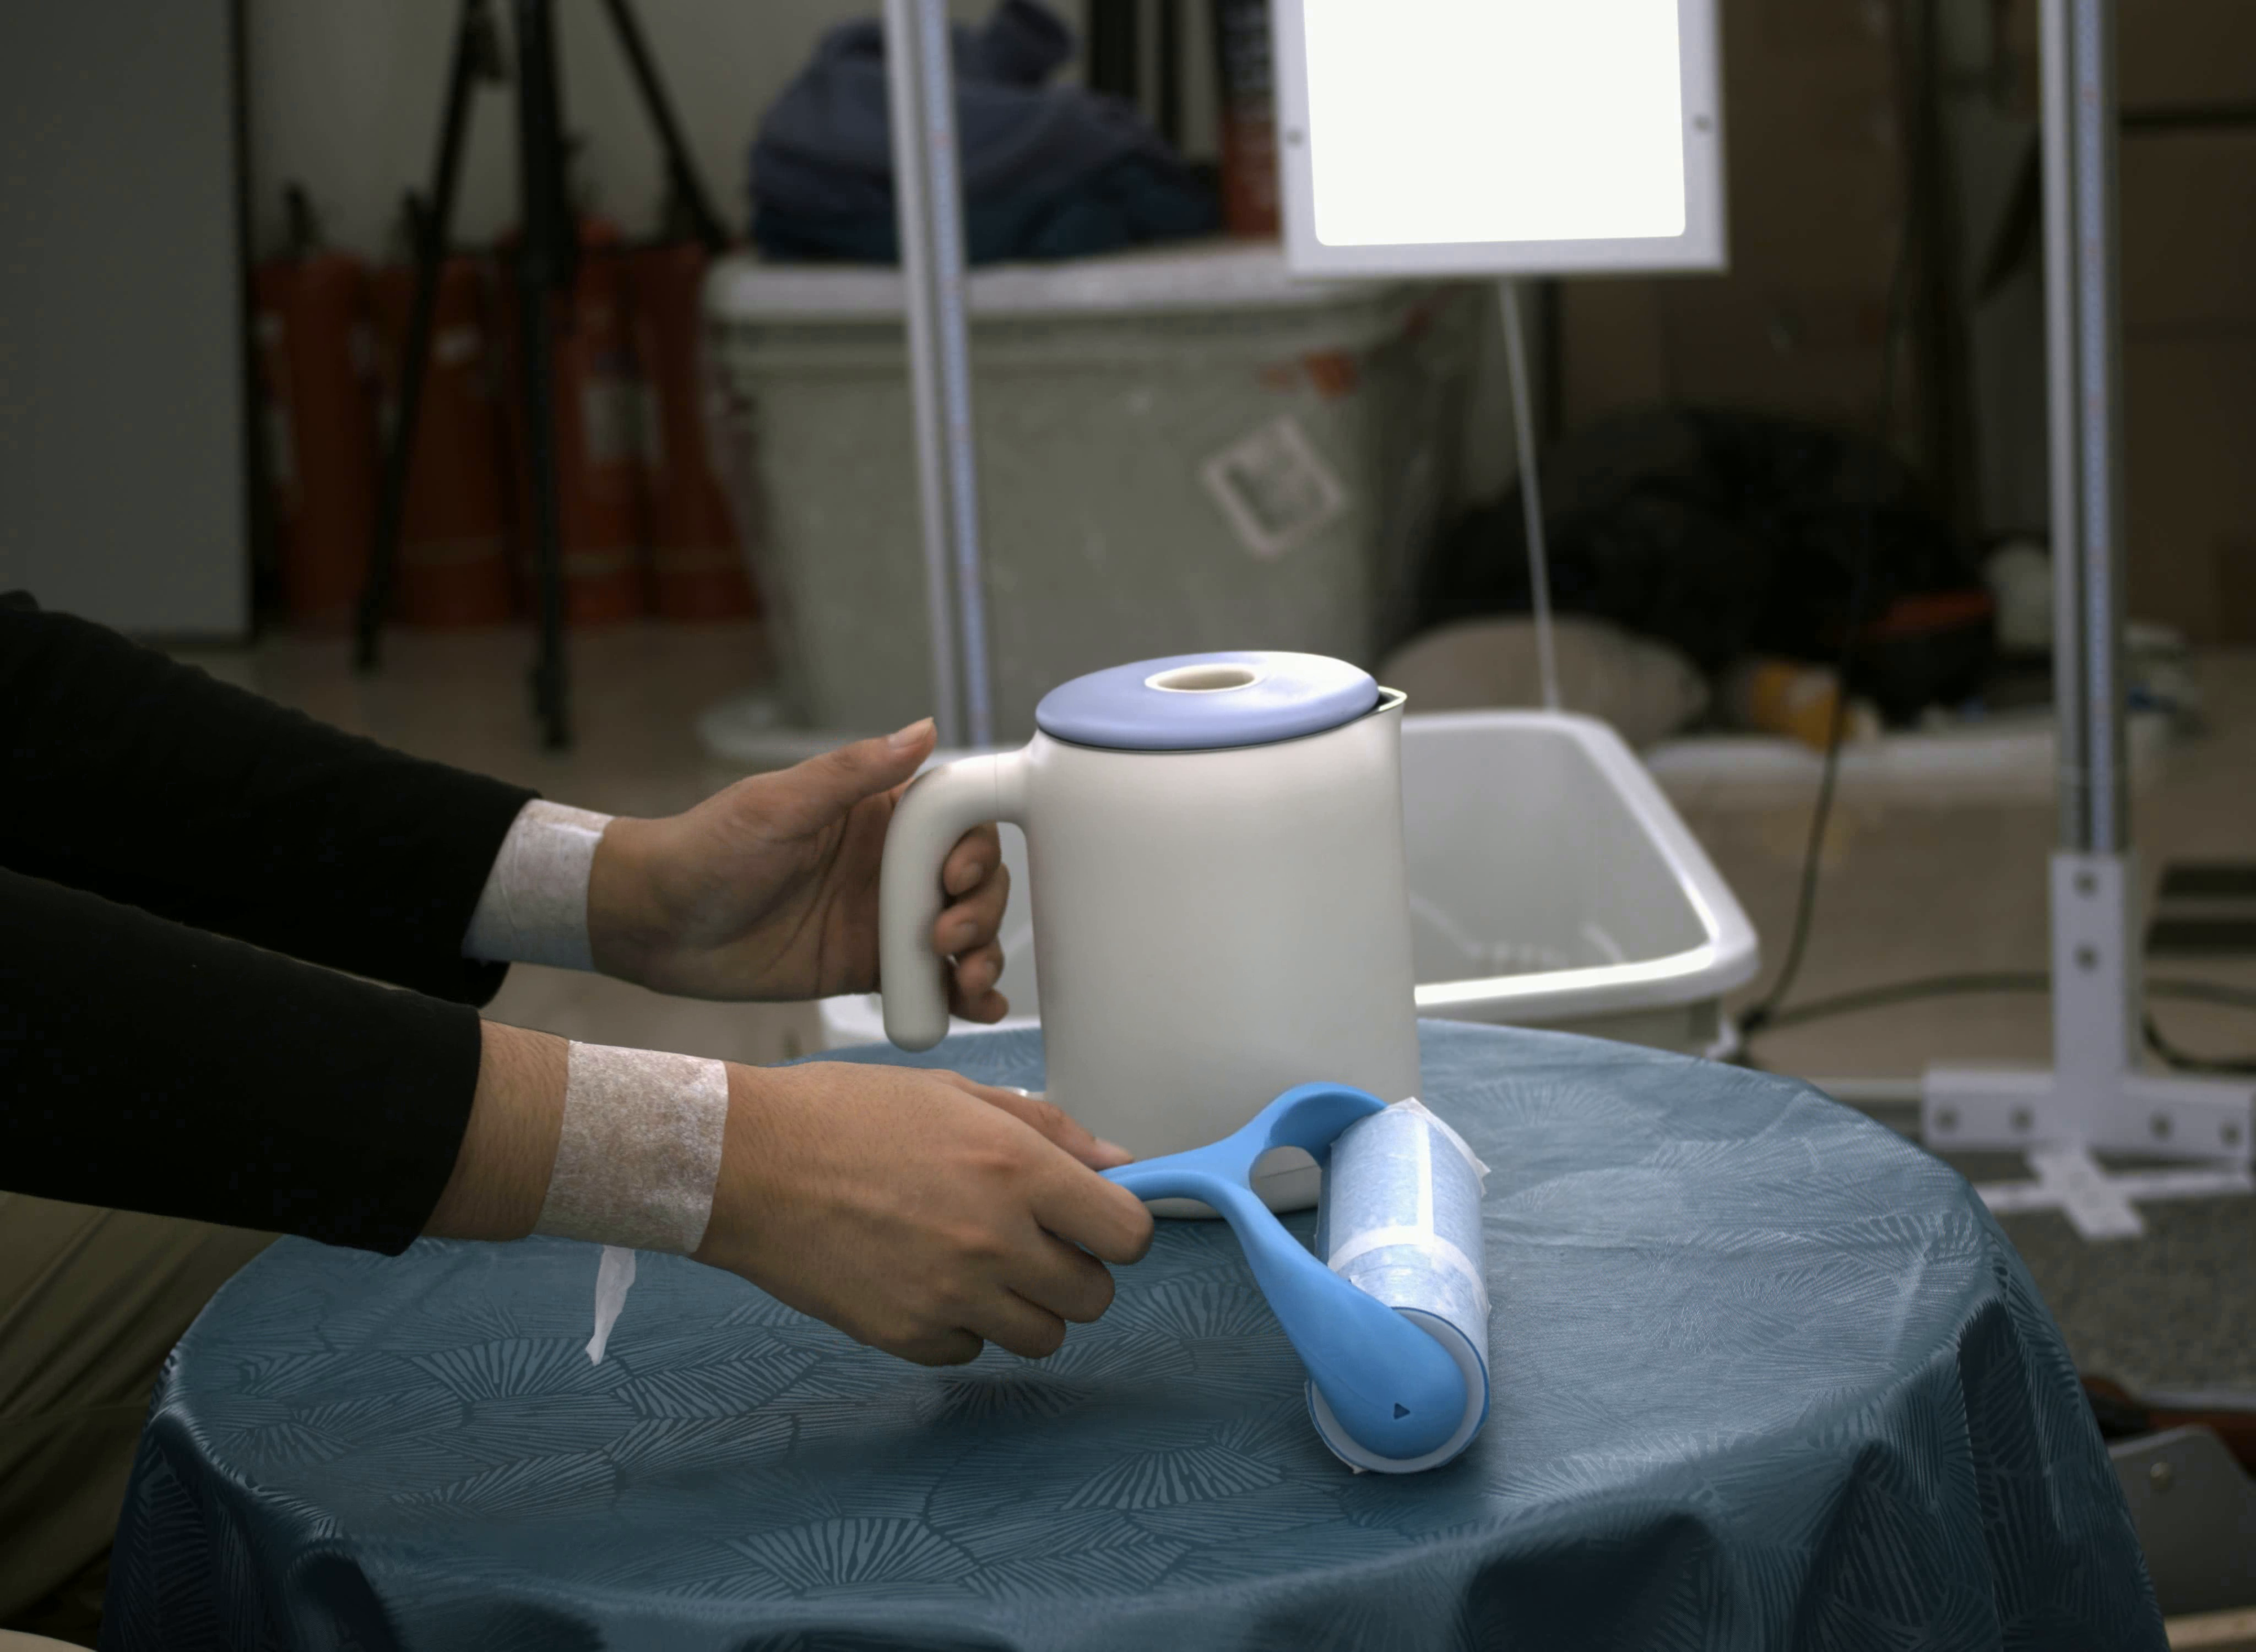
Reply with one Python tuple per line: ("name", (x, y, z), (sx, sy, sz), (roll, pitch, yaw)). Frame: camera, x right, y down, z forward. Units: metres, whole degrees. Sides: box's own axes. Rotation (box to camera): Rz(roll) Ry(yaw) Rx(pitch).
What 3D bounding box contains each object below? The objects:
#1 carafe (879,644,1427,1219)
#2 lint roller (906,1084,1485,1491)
("carafe", (0.008, 0.038, 1.895), (0.191, 0.183, 0.132), (-6, 13, 3))
("lint roller", (0.024, 0.132, 1.699), (0.180, 0.068, 0.228), (10, 17, 0))
